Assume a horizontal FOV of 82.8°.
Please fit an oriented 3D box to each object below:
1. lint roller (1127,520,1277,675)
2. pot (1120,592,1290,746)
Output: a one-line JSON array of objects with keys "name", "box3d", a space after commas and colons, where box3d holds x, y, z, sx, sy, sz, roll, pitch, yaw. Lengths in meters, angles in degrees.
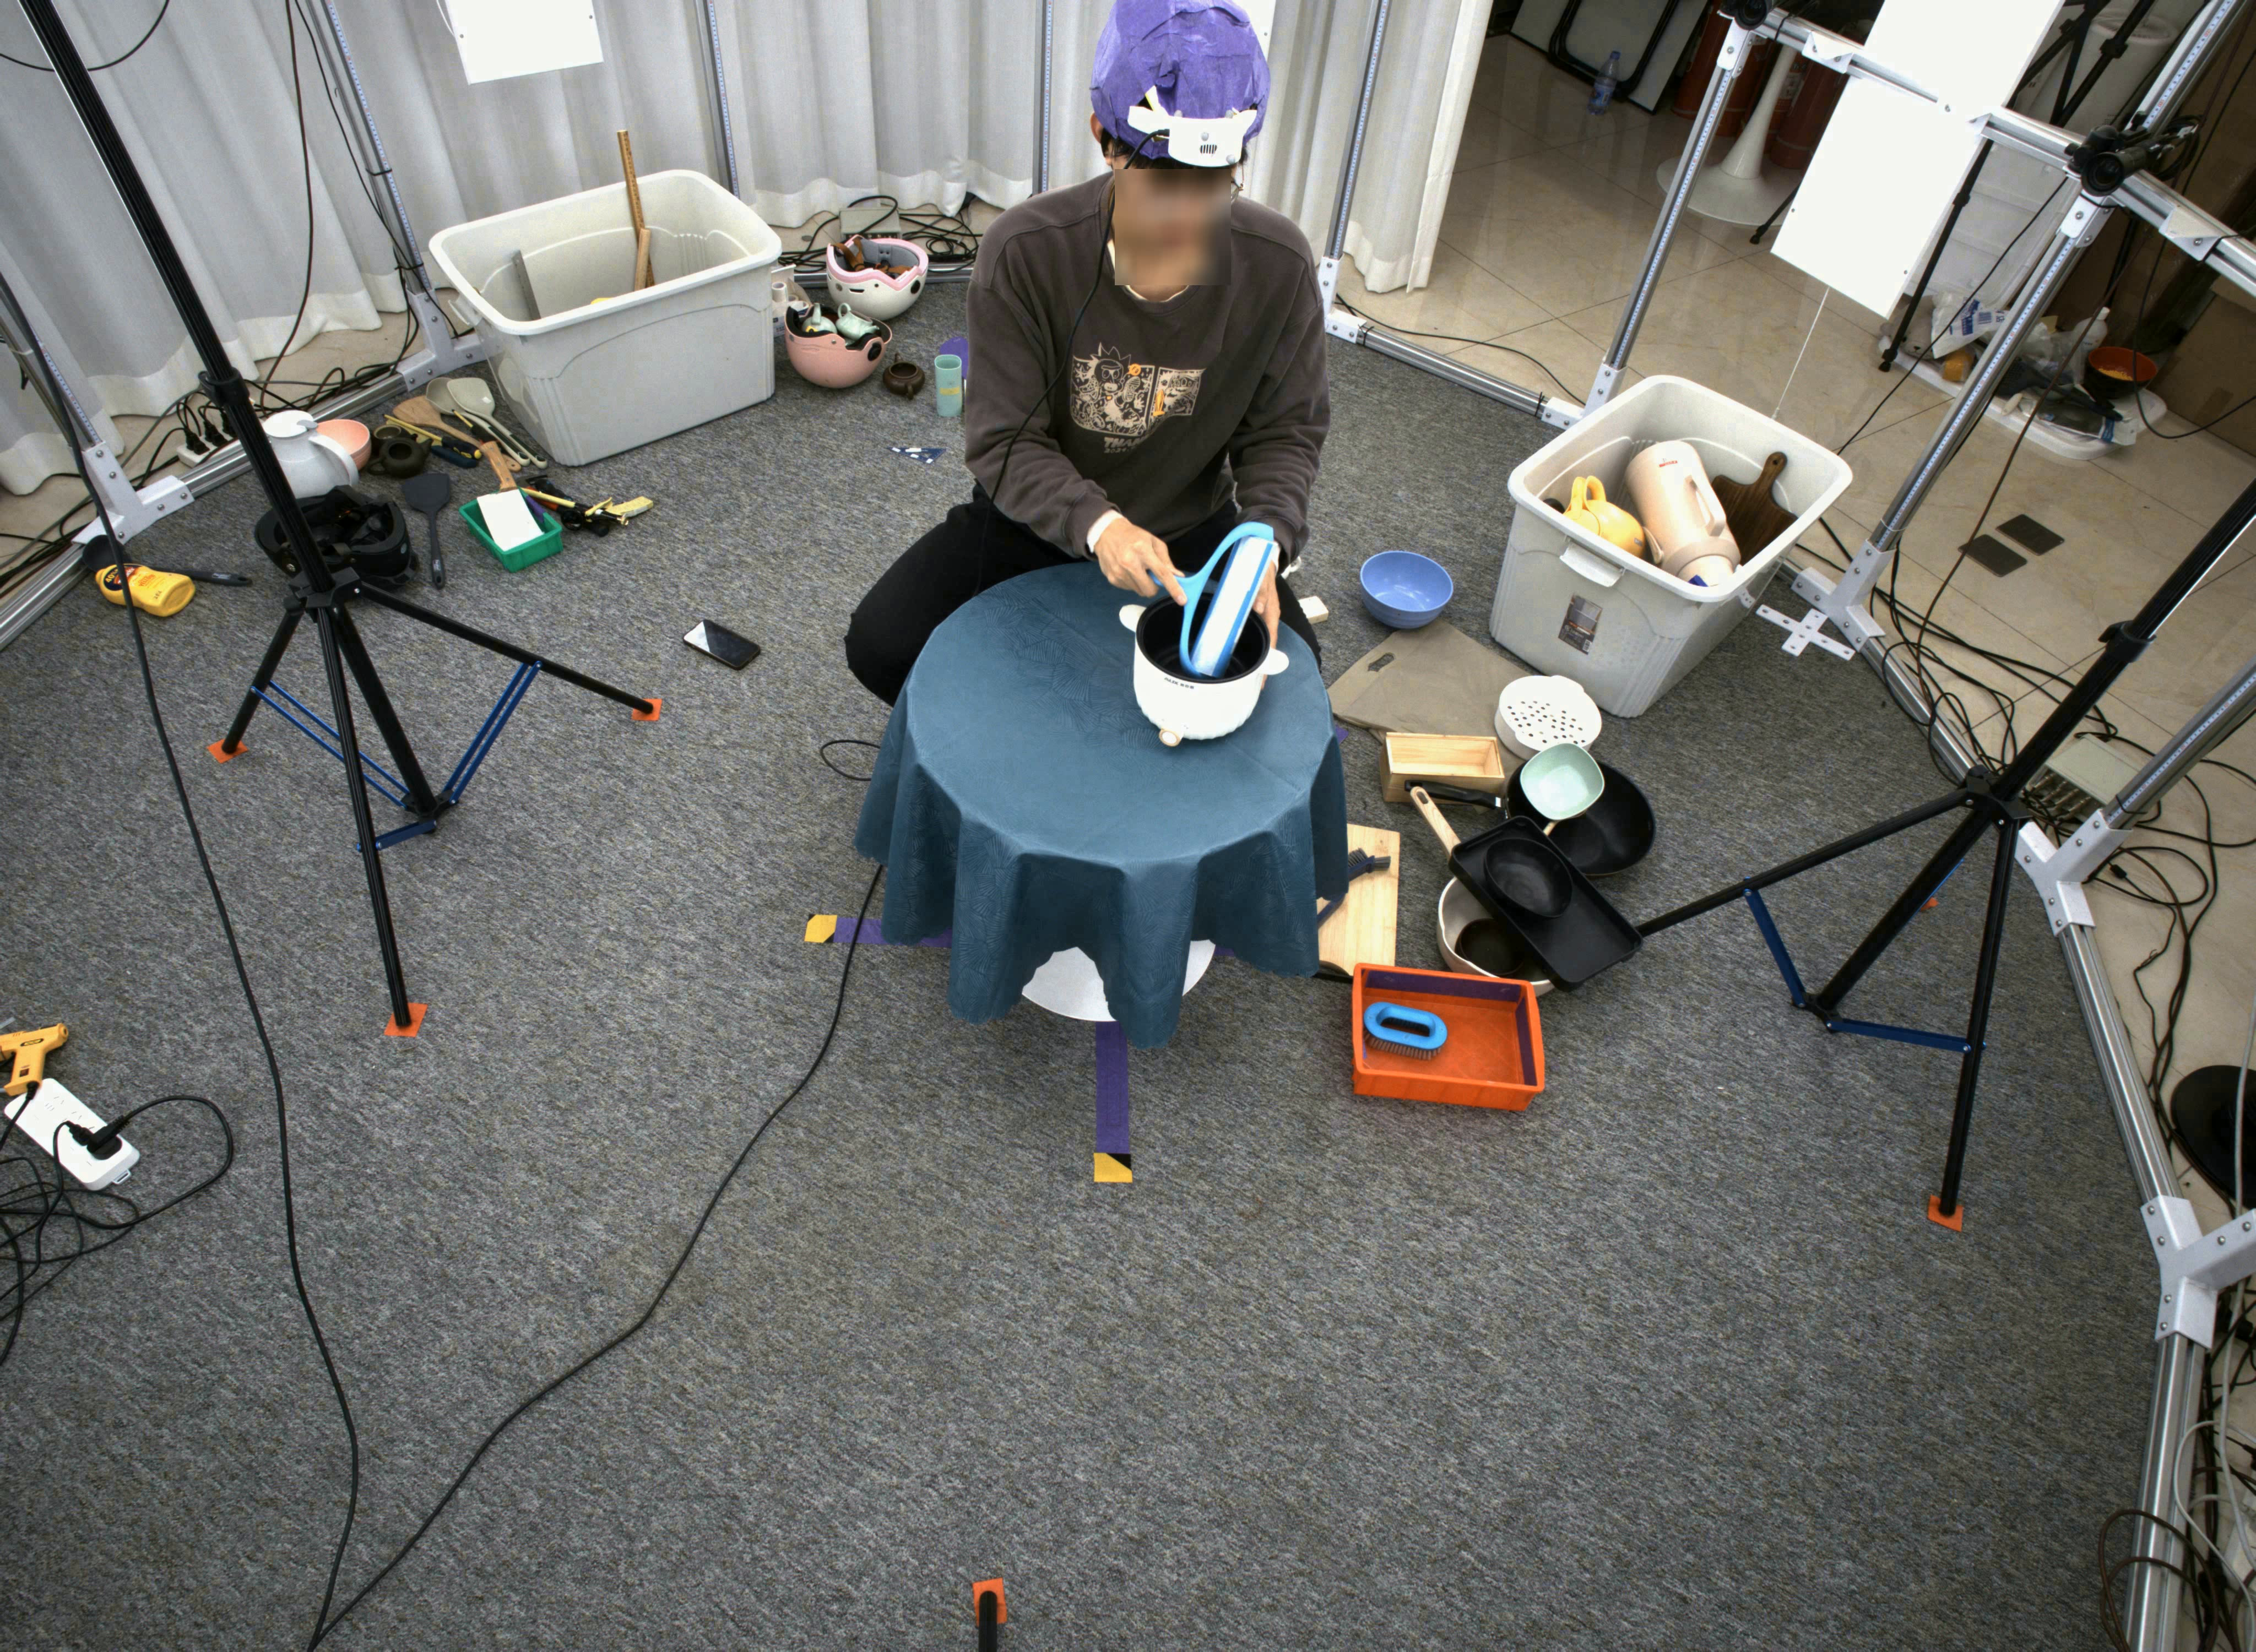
[{"name": "lint roller", "box3d": [0.083, -0.315, 1.717, 0.180, 0.227, 0.068, 18, 13, -1]}, {"name": "pot", "box3d": [0.097, -0.211, 1.765, 0.241, 0.139, 0.194, 18, 47, 14]}]
